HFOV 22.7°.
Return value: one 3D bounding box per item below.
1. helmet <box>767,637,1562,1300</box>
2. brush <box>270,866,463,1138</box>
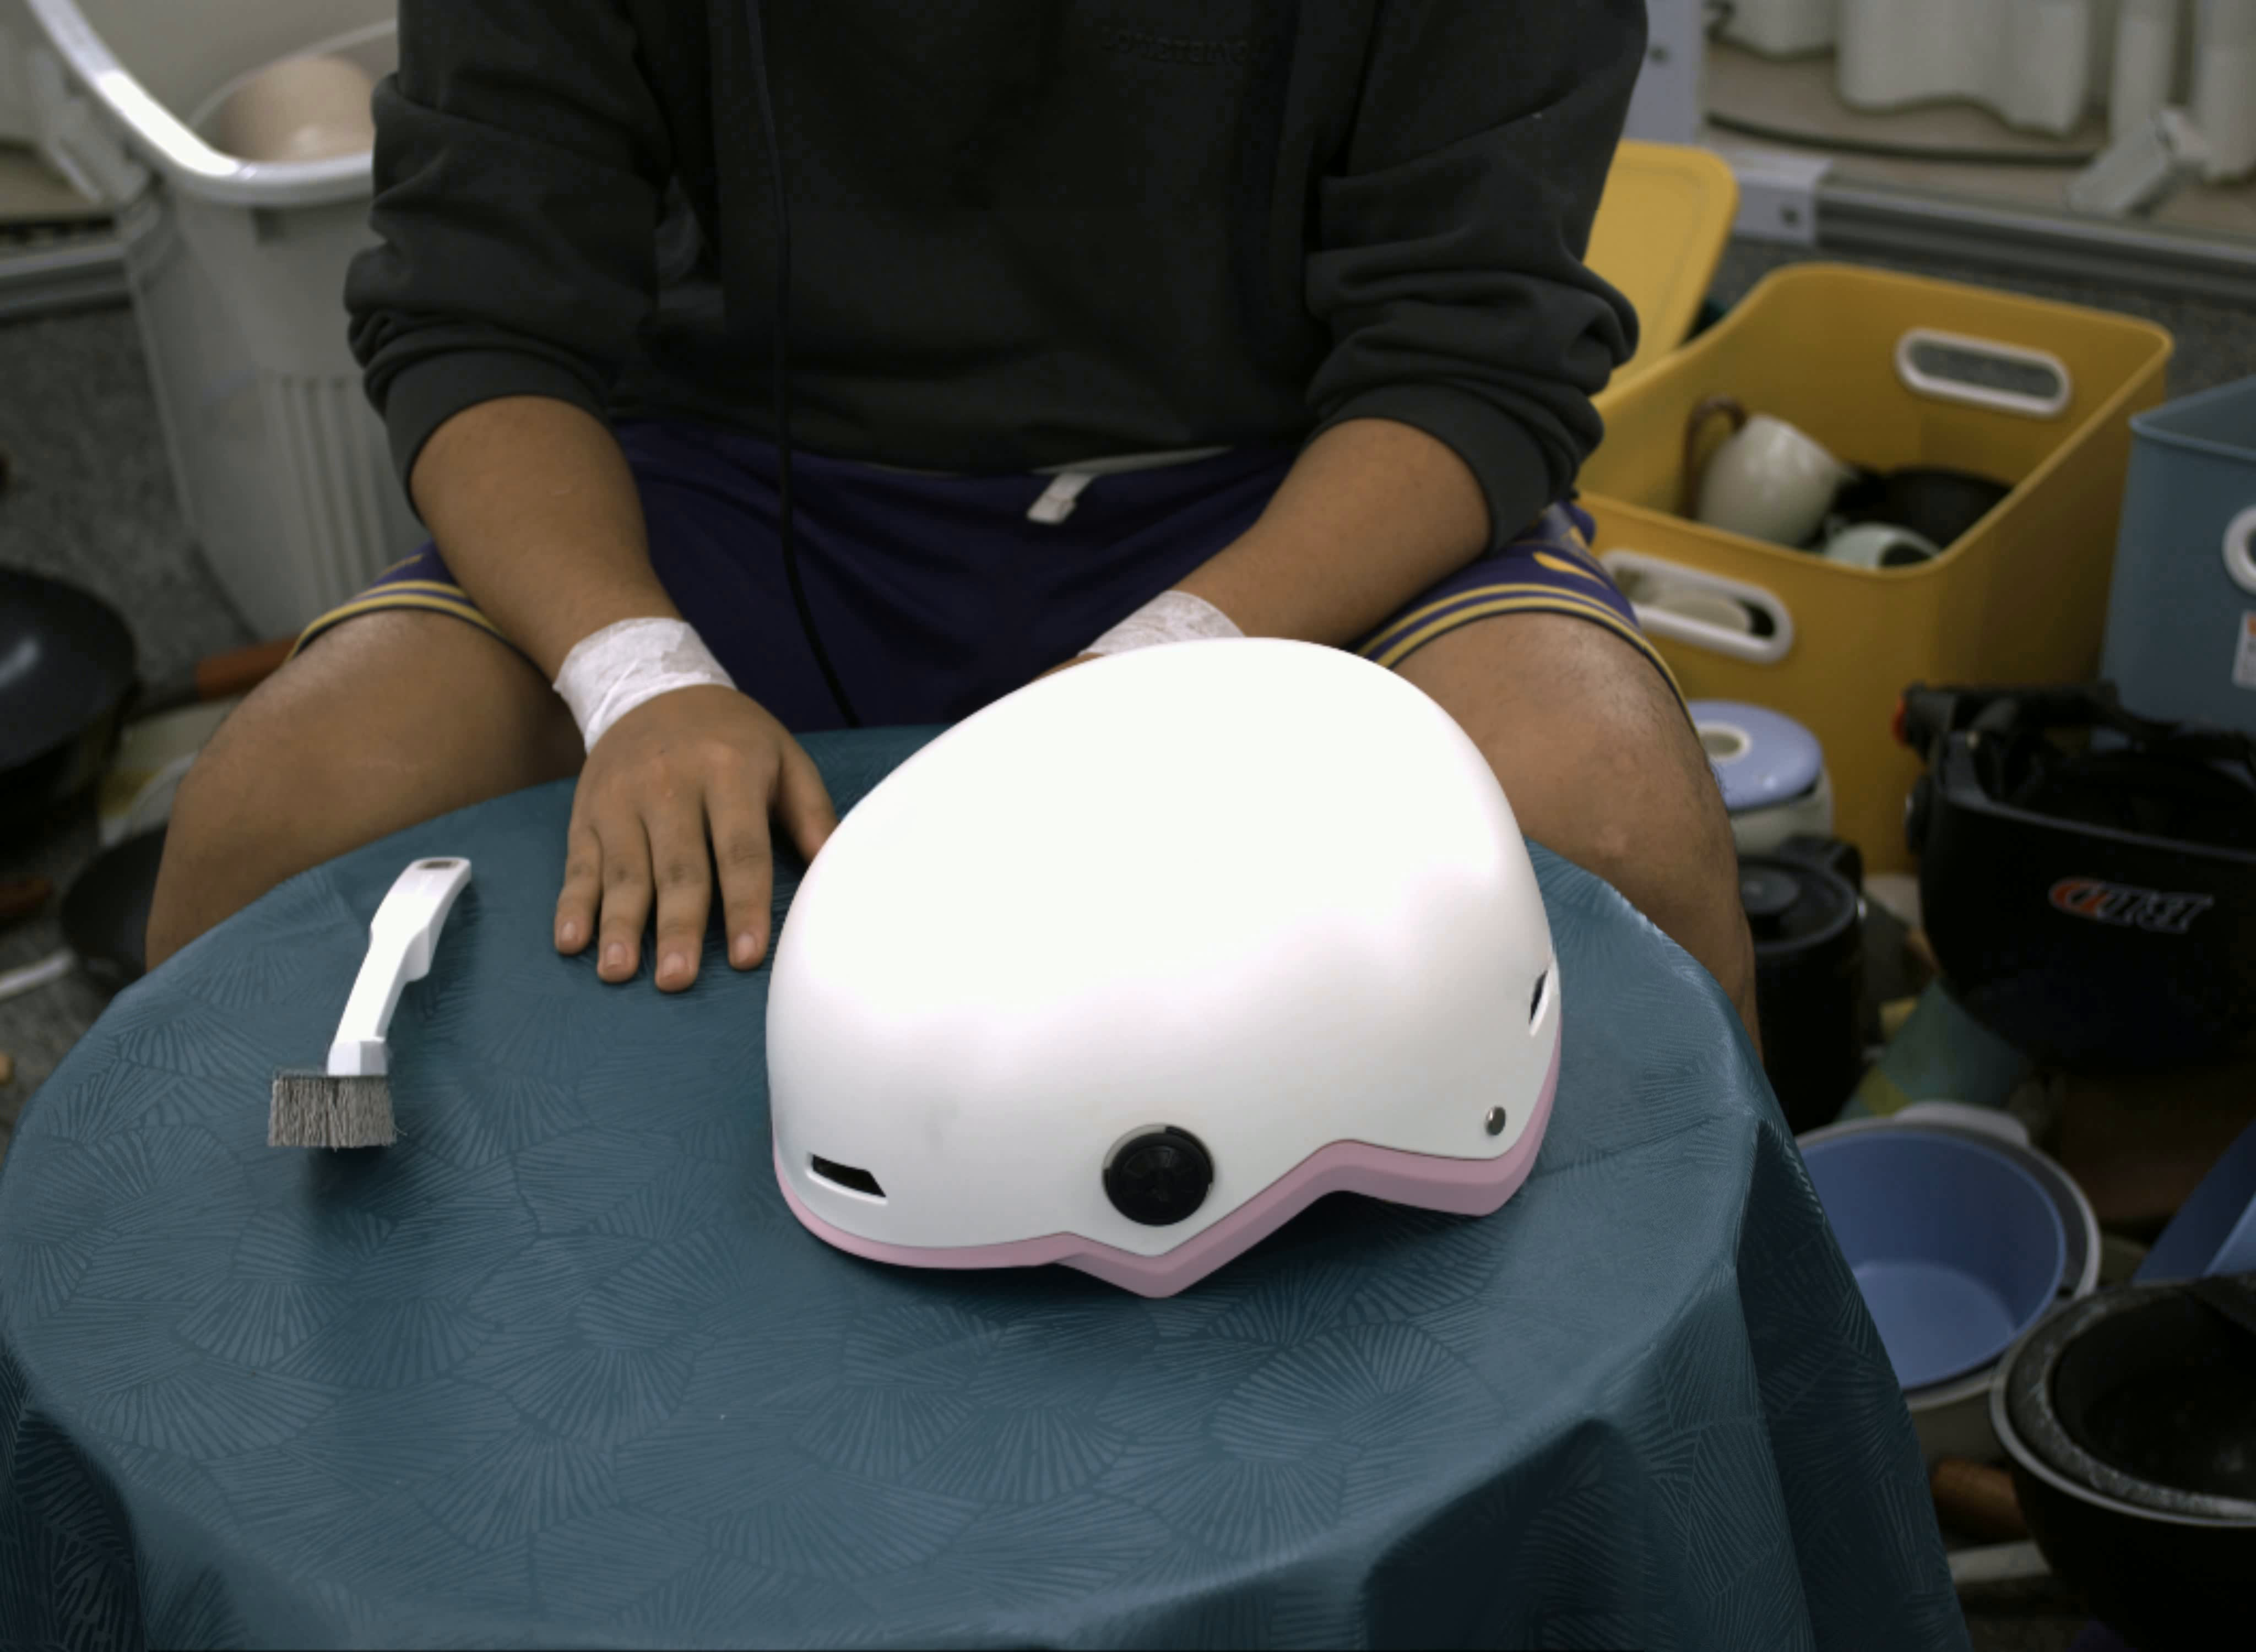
[{"bbox_3d":[0.009,0.031,1.862,0.268,0.165,0.240,-8,28,-8],"label":"helmet"},{"bbox_3d":[-0.263,0.066,1.972,0.034,0.050,0.246,-2,14,4],"label":"brush"}]
